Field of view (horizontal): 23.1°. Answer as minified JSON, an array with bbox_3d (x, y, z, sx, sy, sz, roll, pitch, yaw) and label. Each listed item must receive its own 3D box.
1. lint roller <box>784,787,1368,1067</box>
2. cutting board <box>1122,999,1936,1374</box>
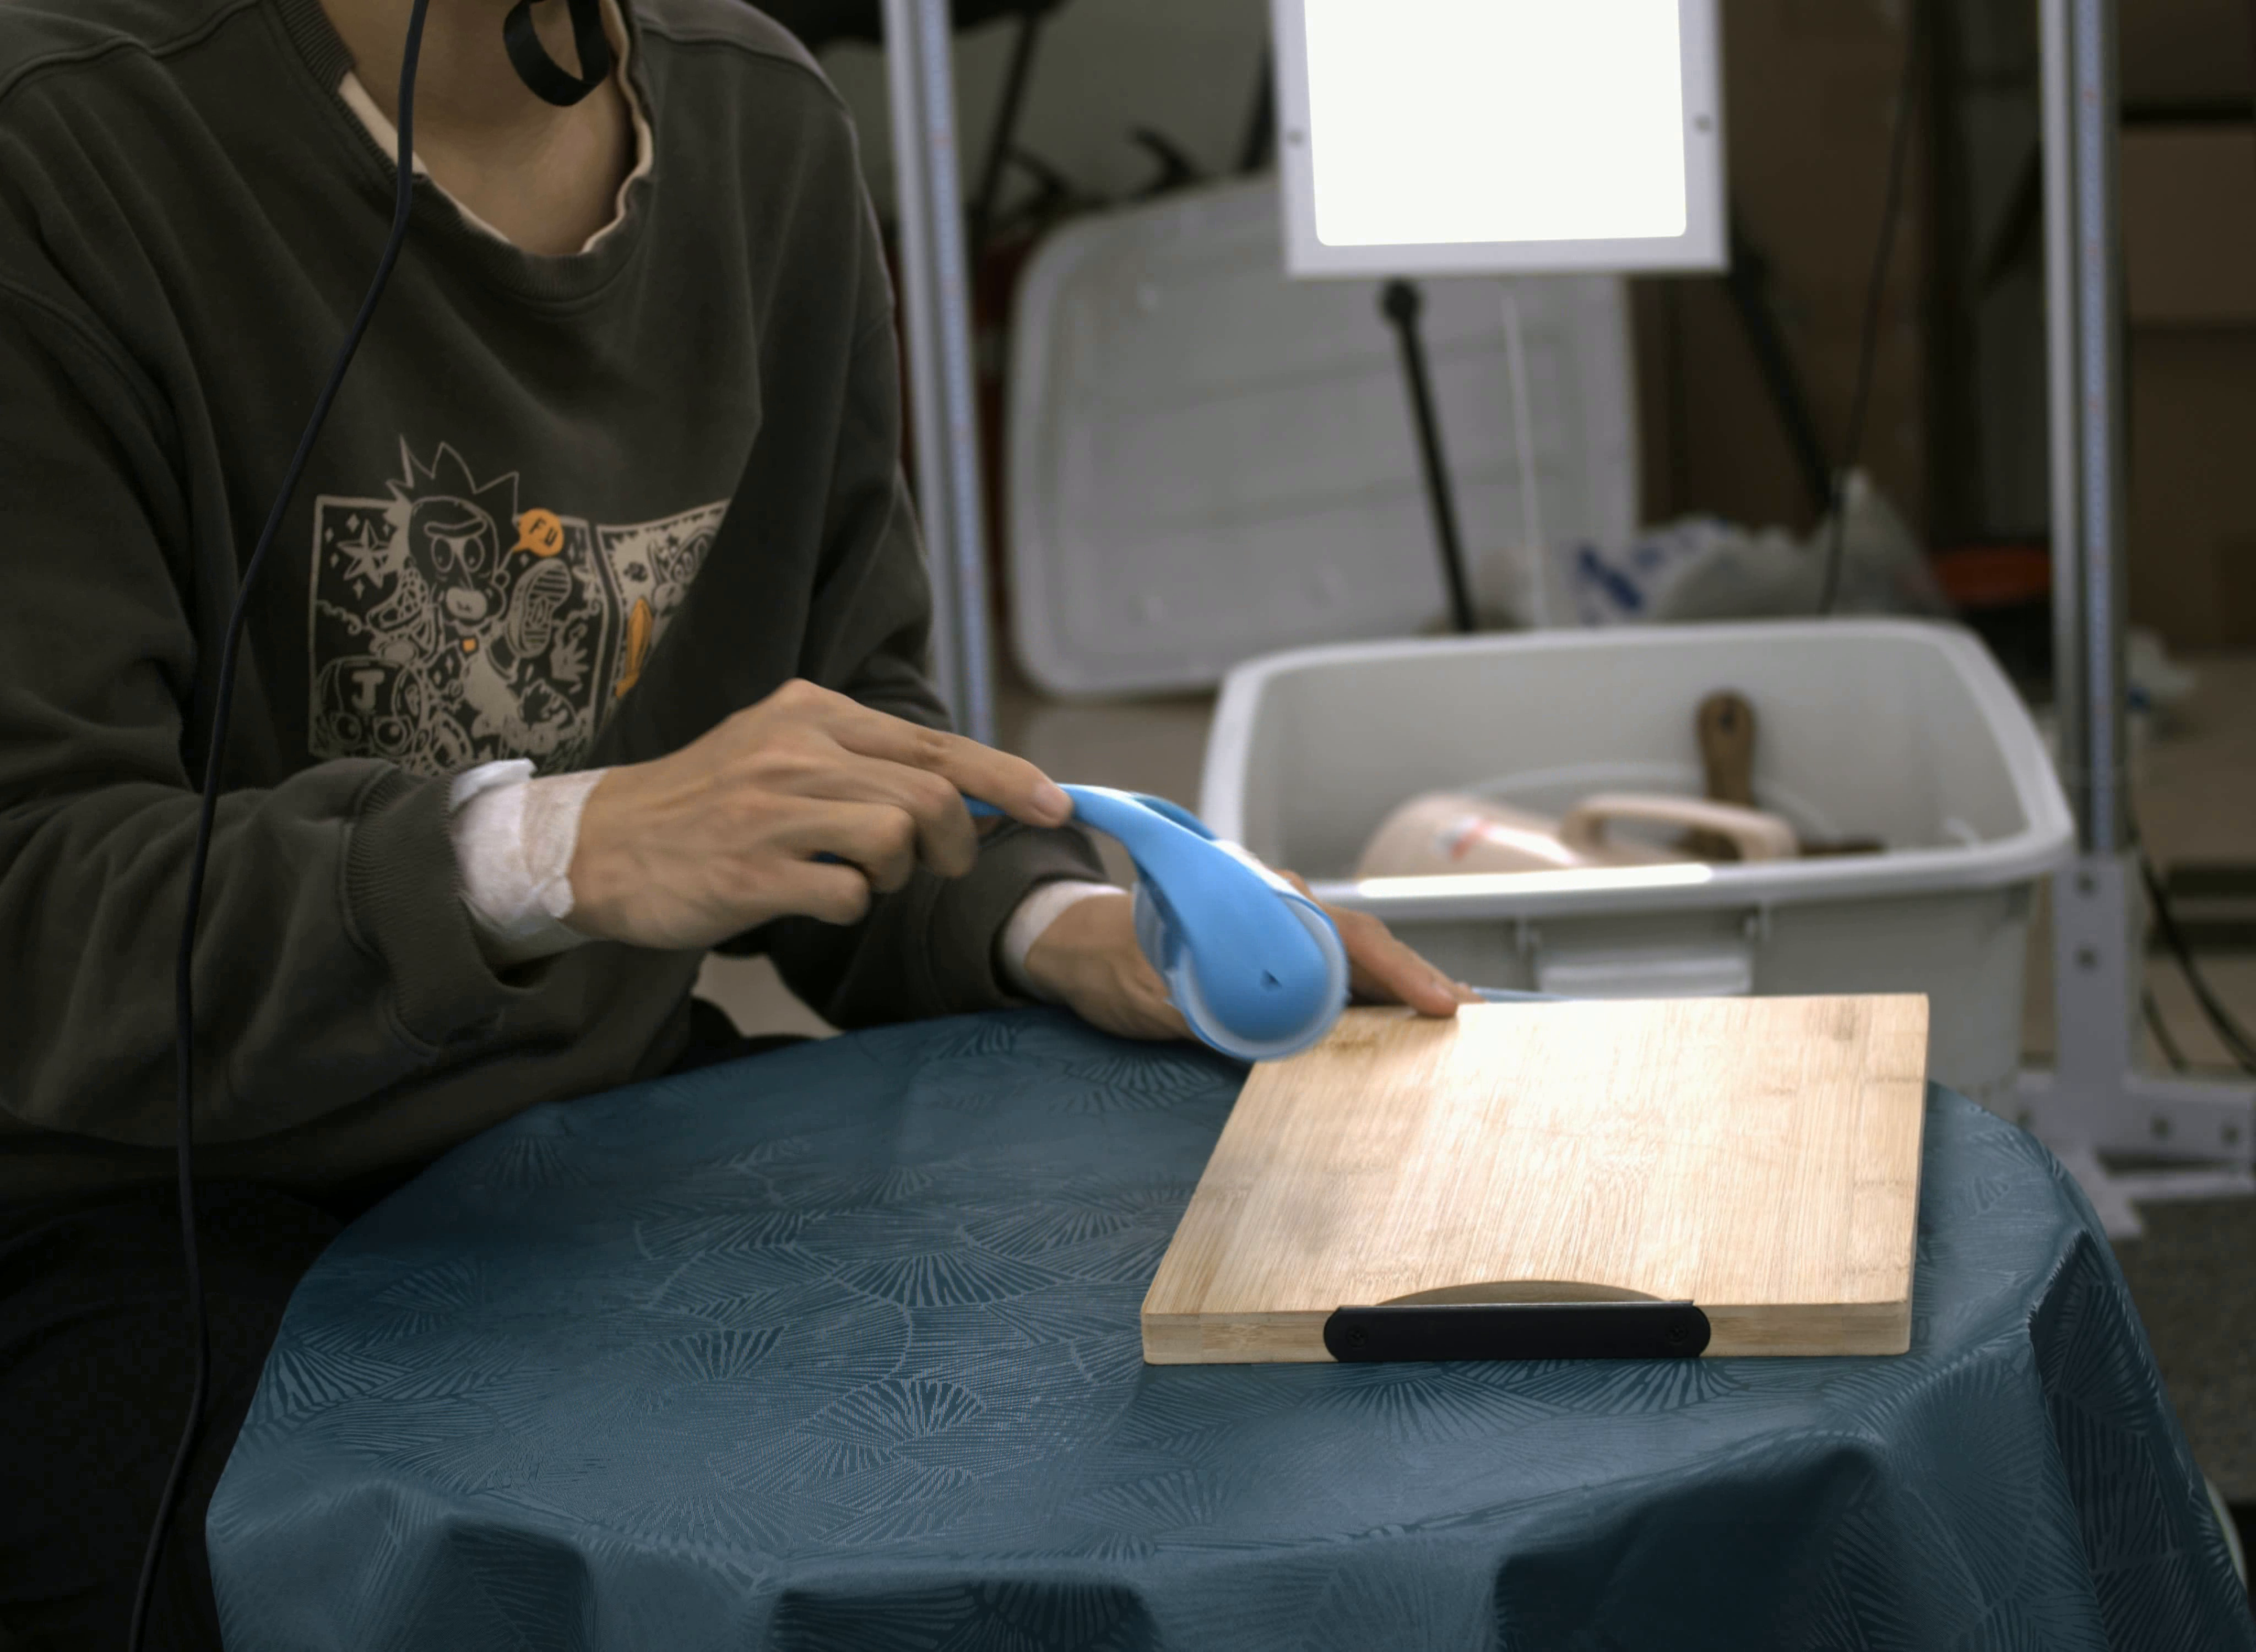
[{"bbox_3d":[-0.016,0.019,1.776,0.179,0.068,0.229,18,5,-7],"label":"lint roller"},{"bbox_3d":[0.146,0.117,1.849,0.252,0.023,0.345,-3,14,10],"label":"cutting board"}]
